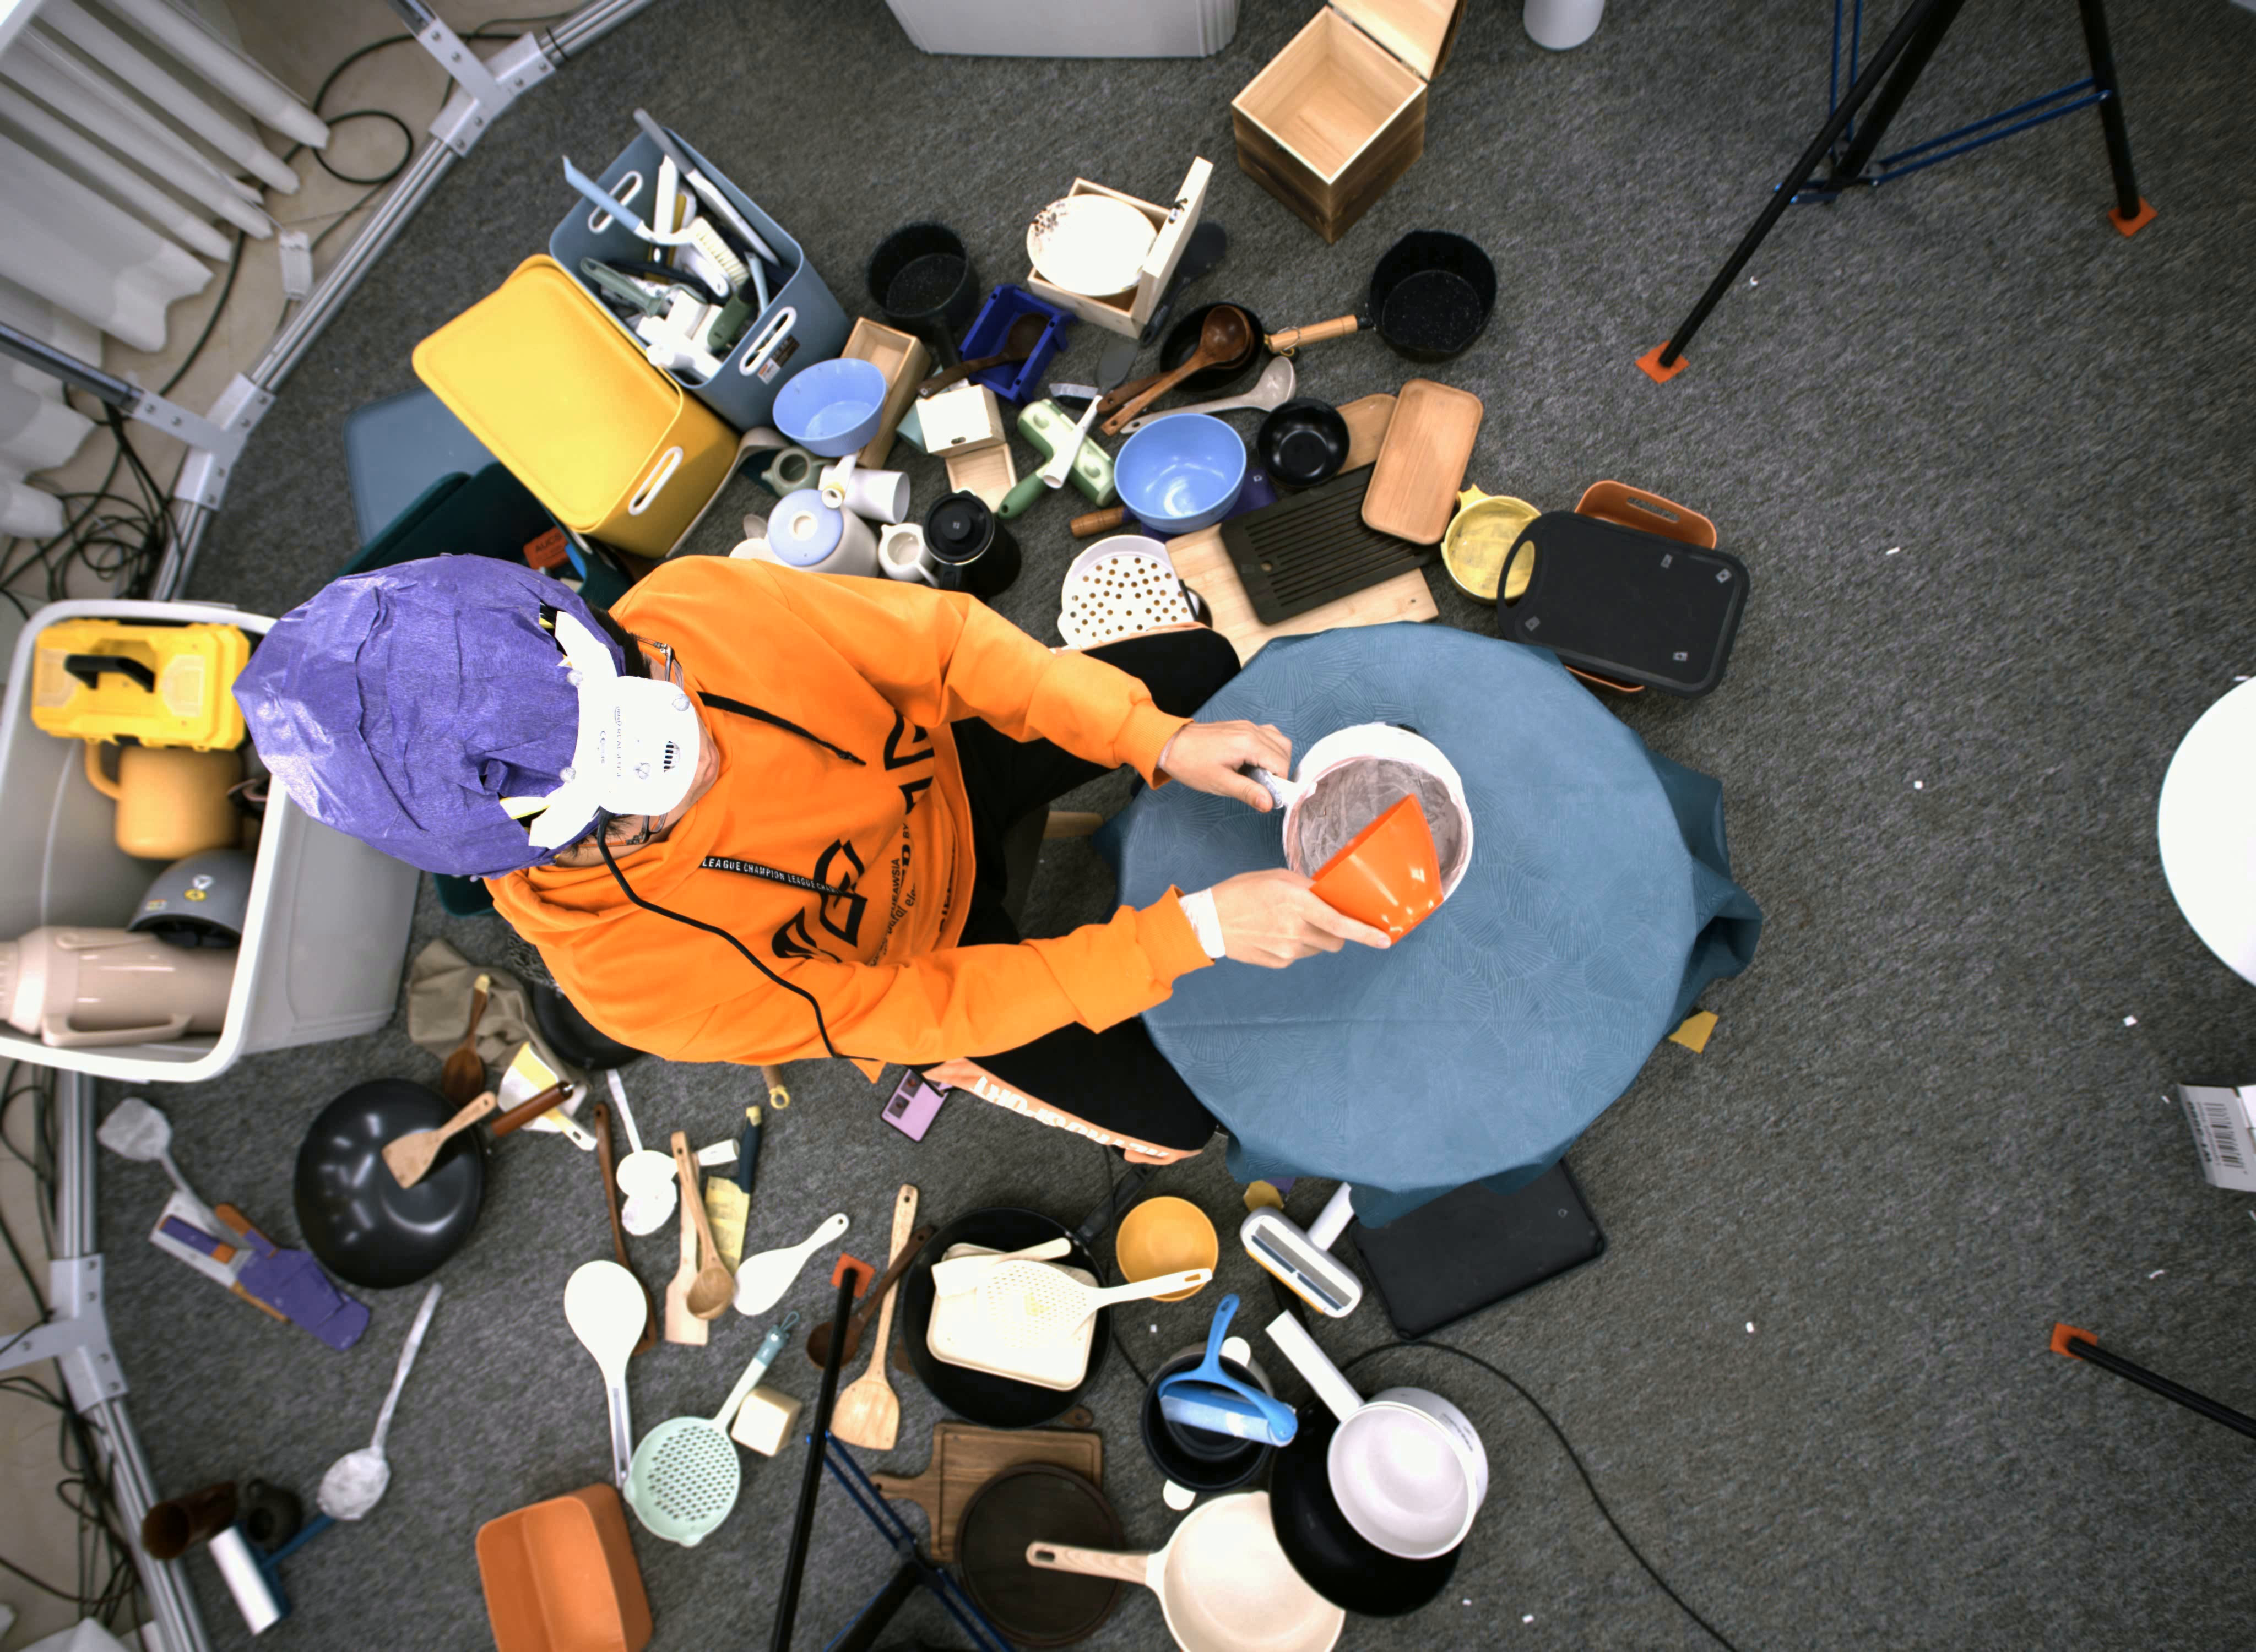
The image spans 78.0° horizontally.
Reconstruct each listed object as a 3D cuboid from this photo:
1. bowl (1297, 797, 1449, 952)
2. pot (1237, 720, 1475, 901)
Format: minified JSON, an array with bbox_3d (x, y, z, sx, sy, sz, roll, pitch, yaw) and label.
[{"bbox_3d":[0.235,0.052,1.258,0.148,0.148,0.104,-41,78,4],"label":"bowl"},{"bbox_3d":[0.217,-0.017,1.352,0.234,0.134,0.182,20,110,1],"label":"pot"}]
